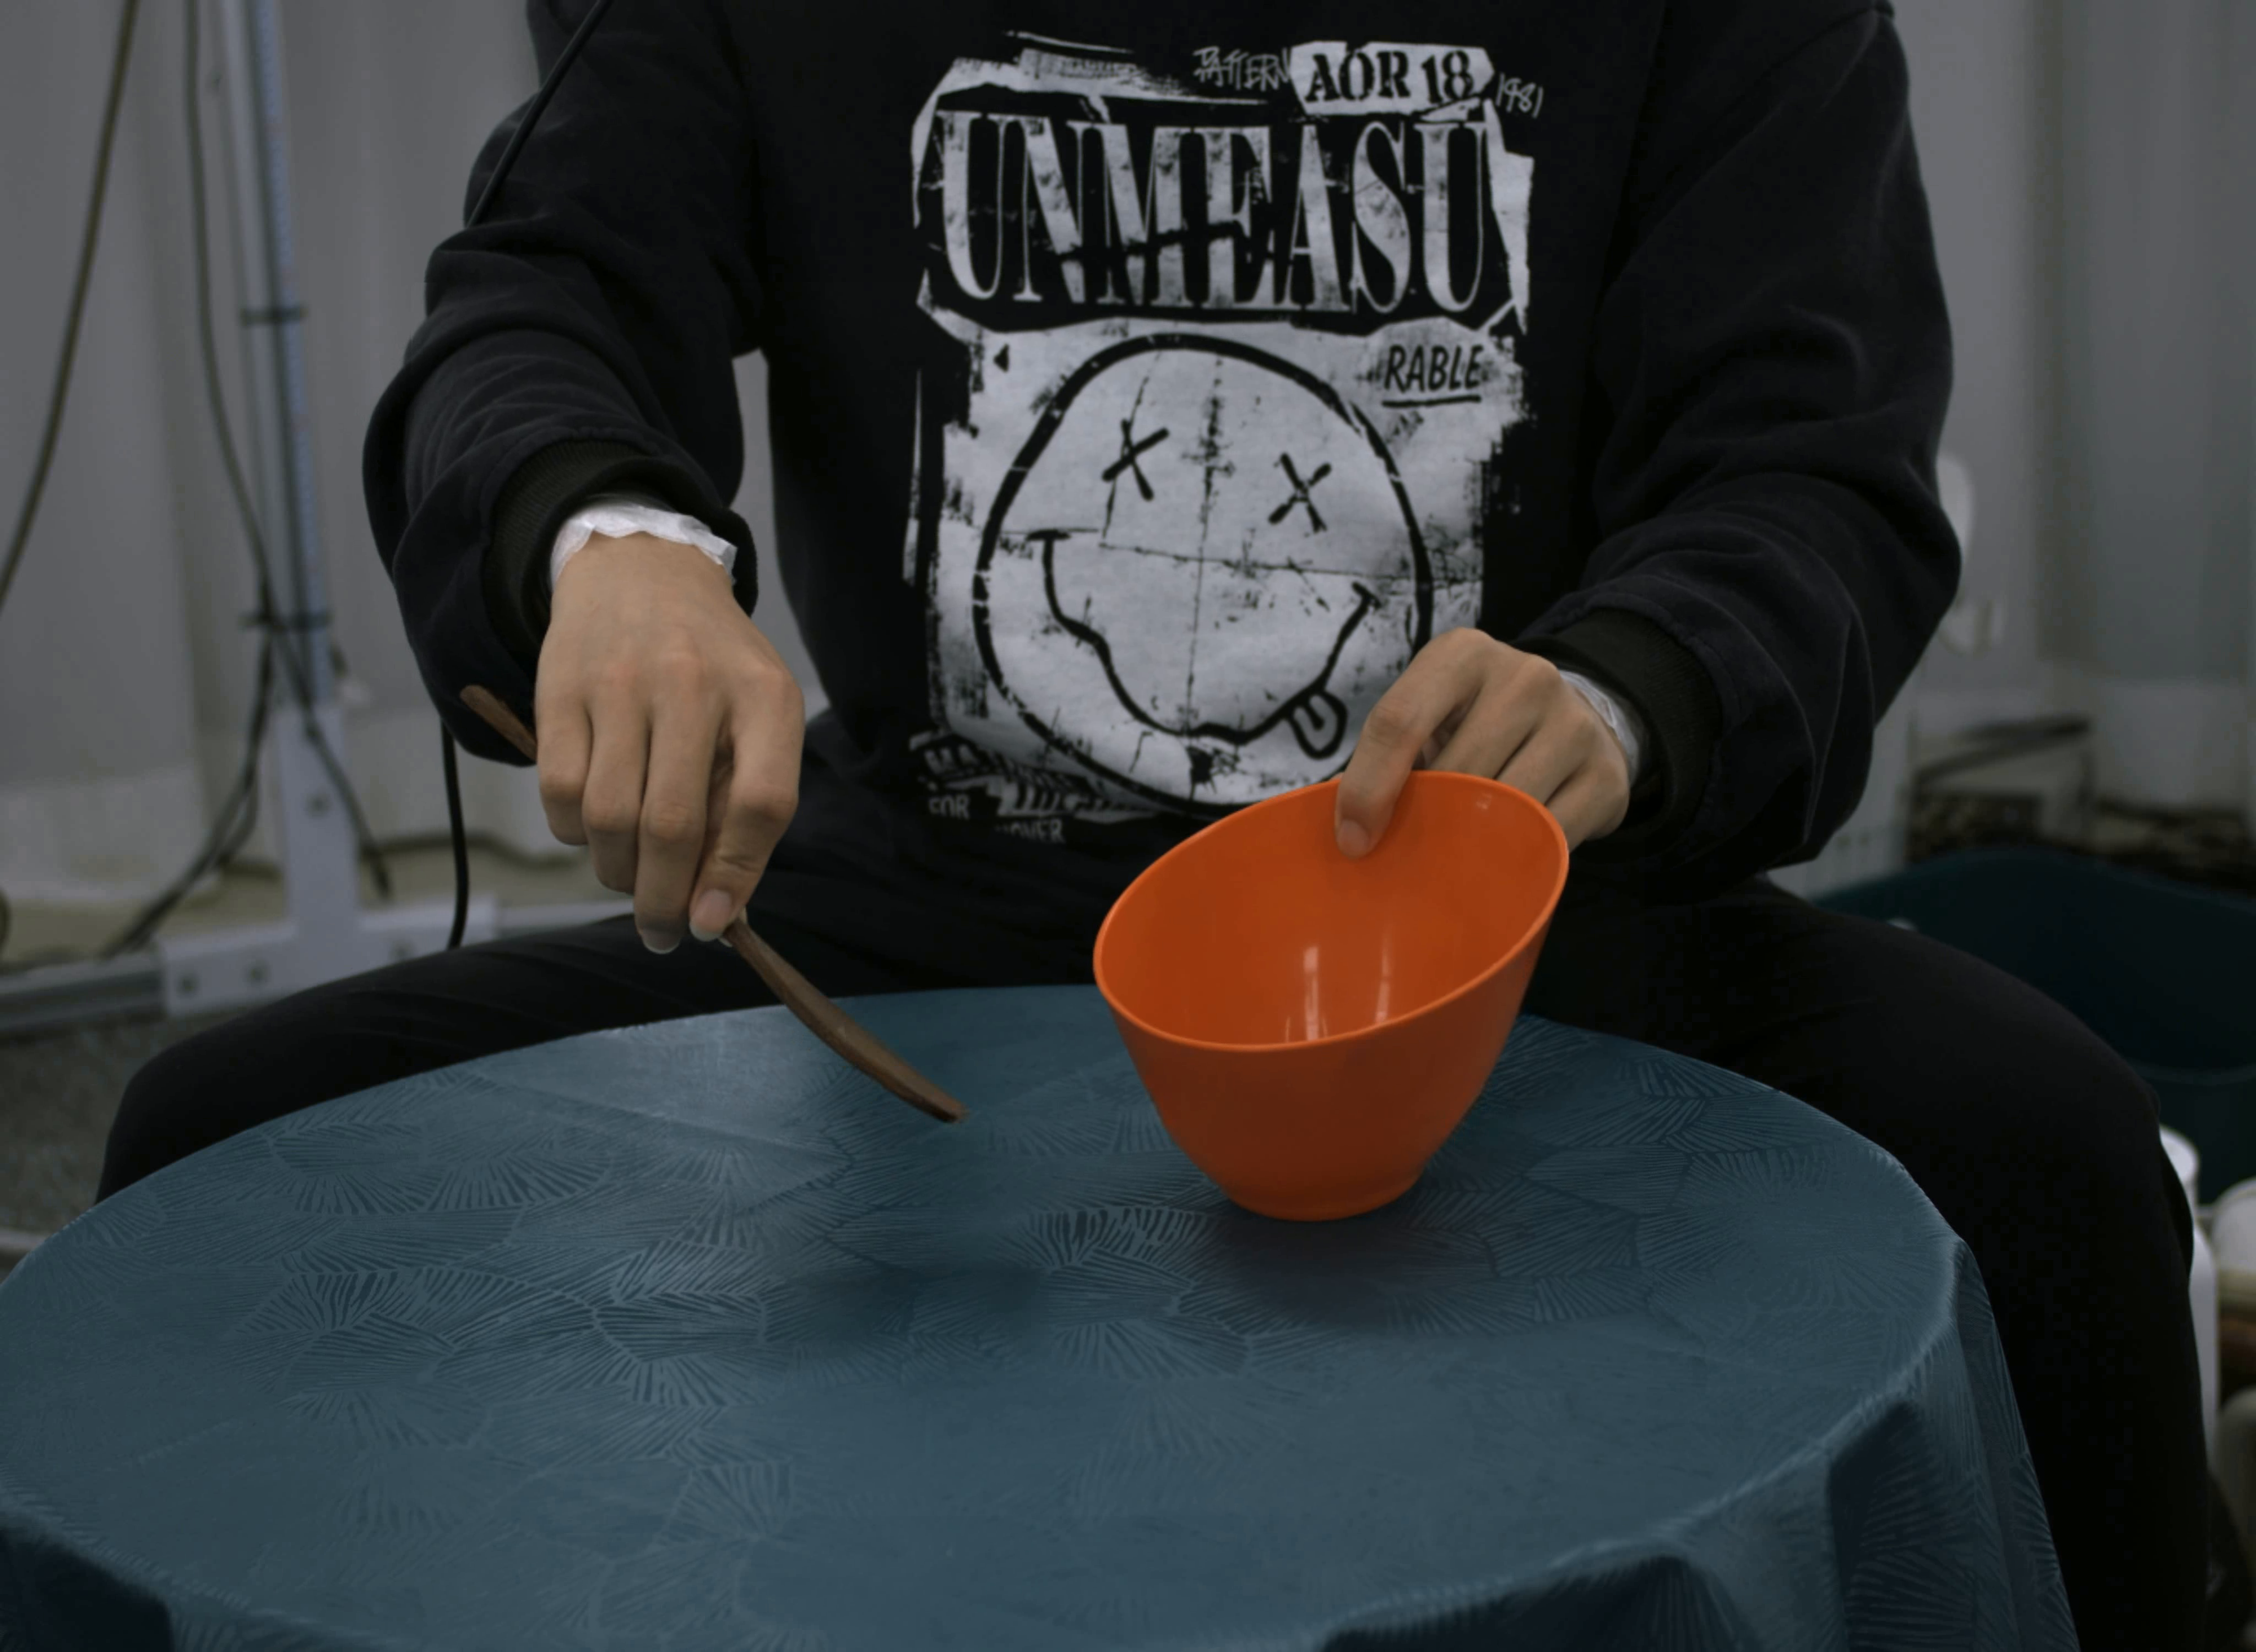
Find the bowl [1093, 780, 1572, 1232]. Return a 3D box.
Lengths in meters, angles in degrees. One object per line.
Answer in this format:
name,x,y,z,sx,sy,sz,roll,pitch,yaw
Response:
bowl,0.065,0.062,1.677,0.147,0.103,0.150,-5,29,2

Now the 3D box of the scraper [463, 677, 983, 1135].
scraper,-0.125,0.025,1.653,0.212,0.011,0.075,42,-1,15
